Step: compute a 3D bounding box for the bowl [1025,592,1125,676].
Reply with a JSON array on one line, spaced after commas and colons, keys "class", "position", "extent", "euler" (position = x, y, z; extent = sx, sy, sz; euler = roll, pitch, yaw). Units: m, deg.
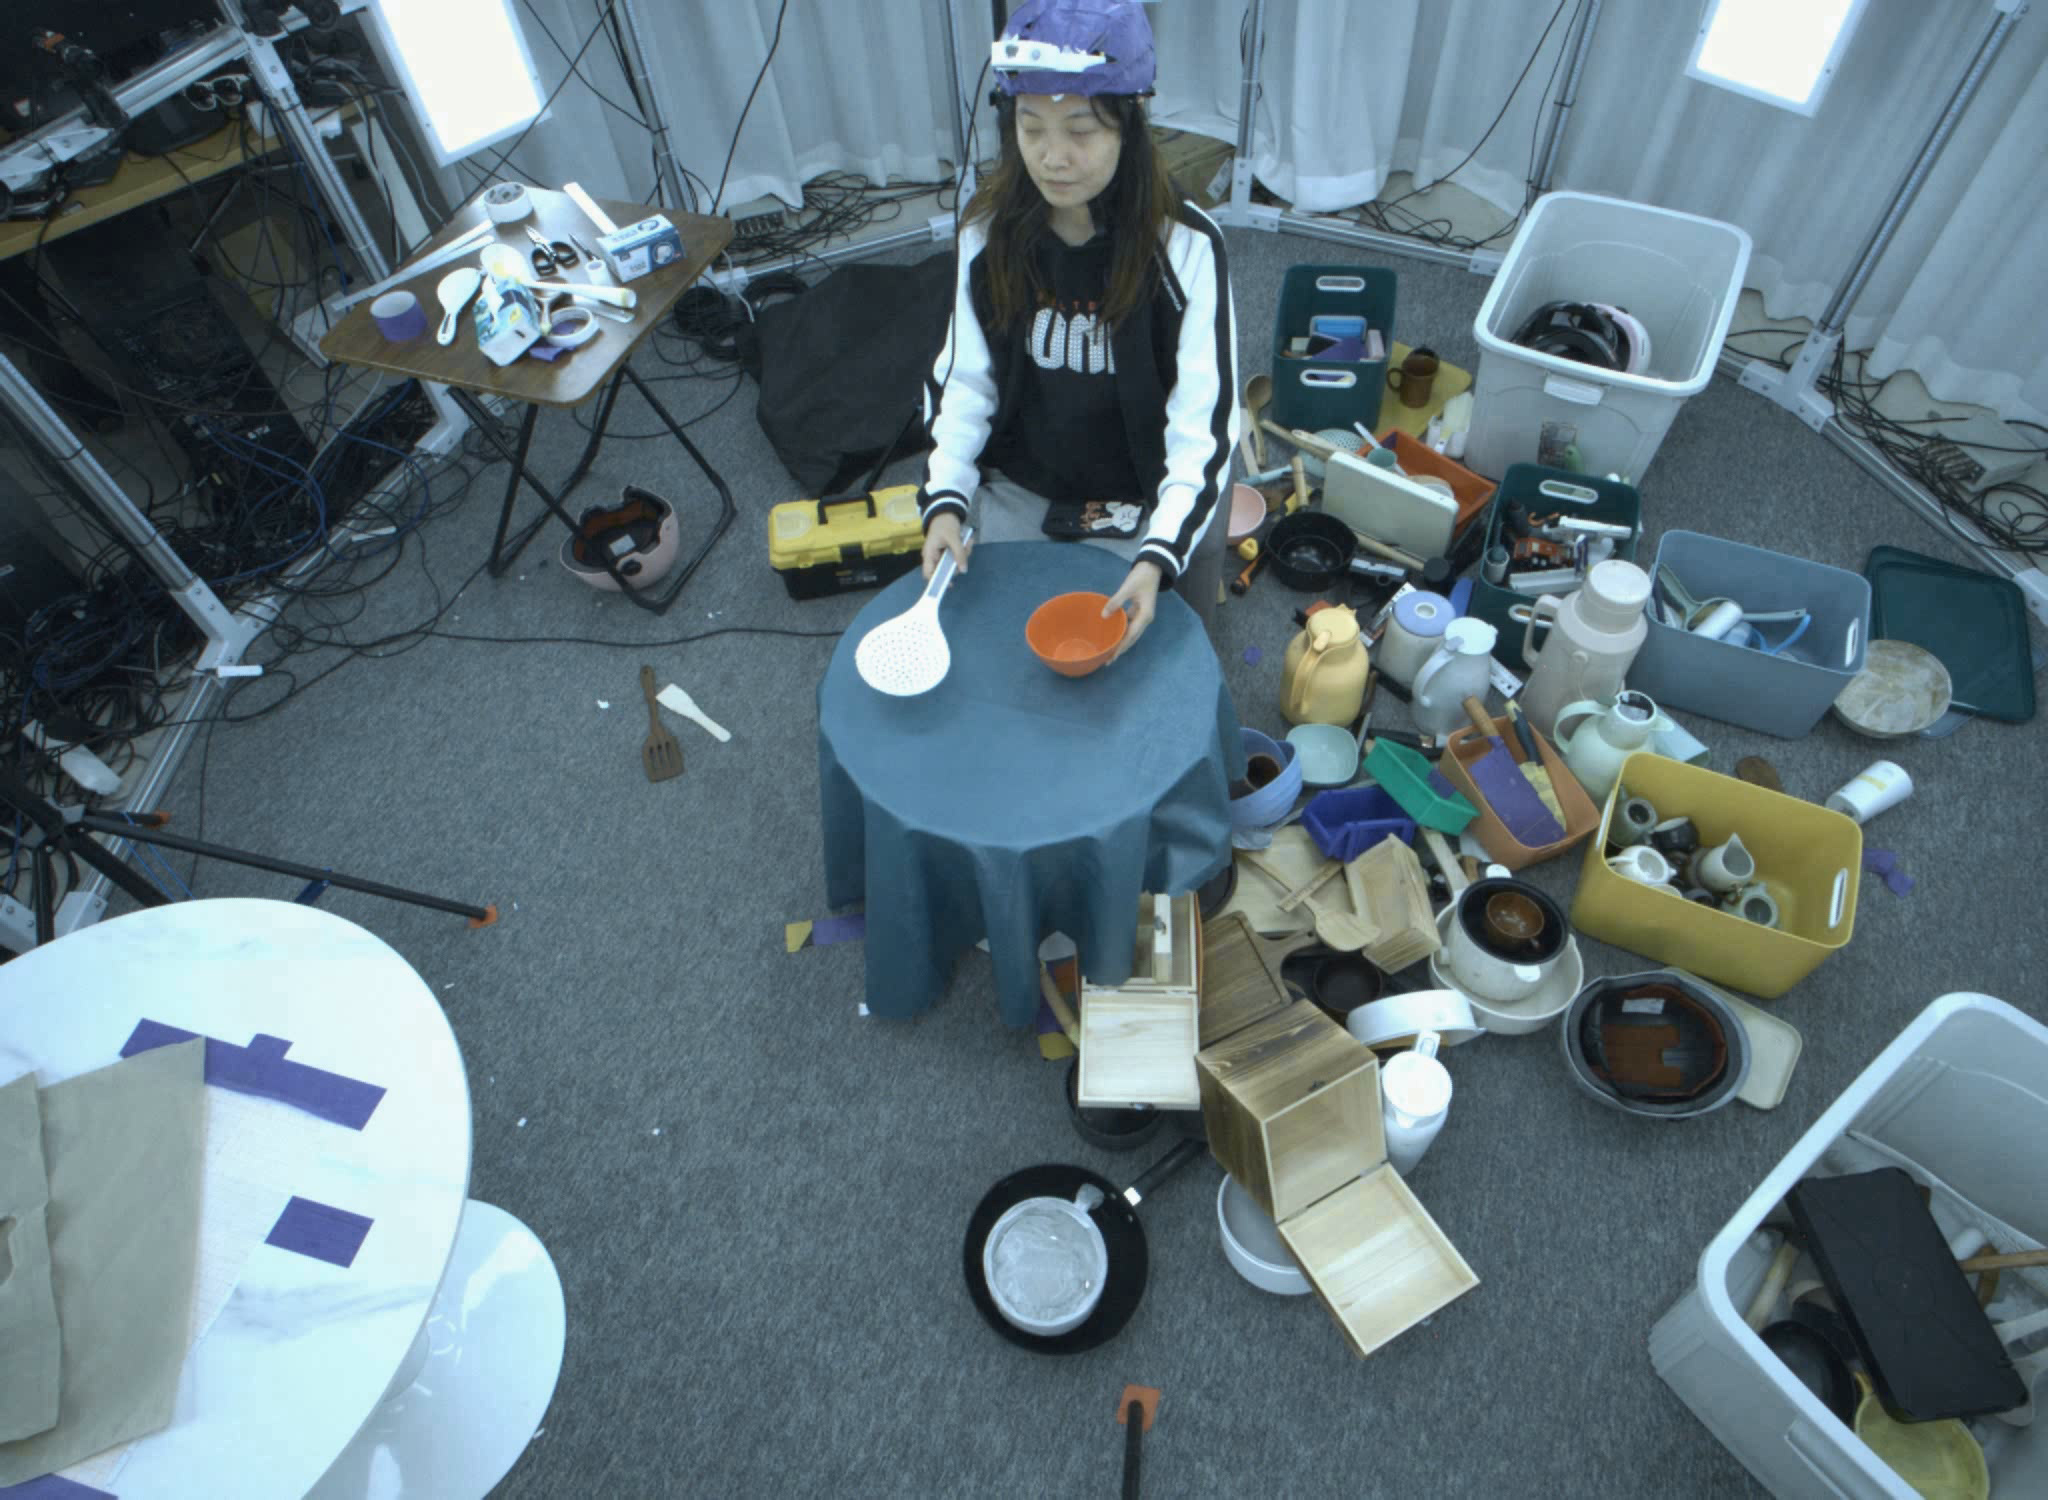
[{"class": "bowl", "position": [0.078, -0.157, 1.820], "extent": [0.147, 0.106, 0.146], "euler": [-3, 57, 5]}]

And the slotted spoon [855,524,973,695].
[{"class": "slotted spoon", "position": [-0.148, -0.219, 1.860], "extent": [0.135, 0.046, 0.349], "euler": [18, 63, 4]}]
